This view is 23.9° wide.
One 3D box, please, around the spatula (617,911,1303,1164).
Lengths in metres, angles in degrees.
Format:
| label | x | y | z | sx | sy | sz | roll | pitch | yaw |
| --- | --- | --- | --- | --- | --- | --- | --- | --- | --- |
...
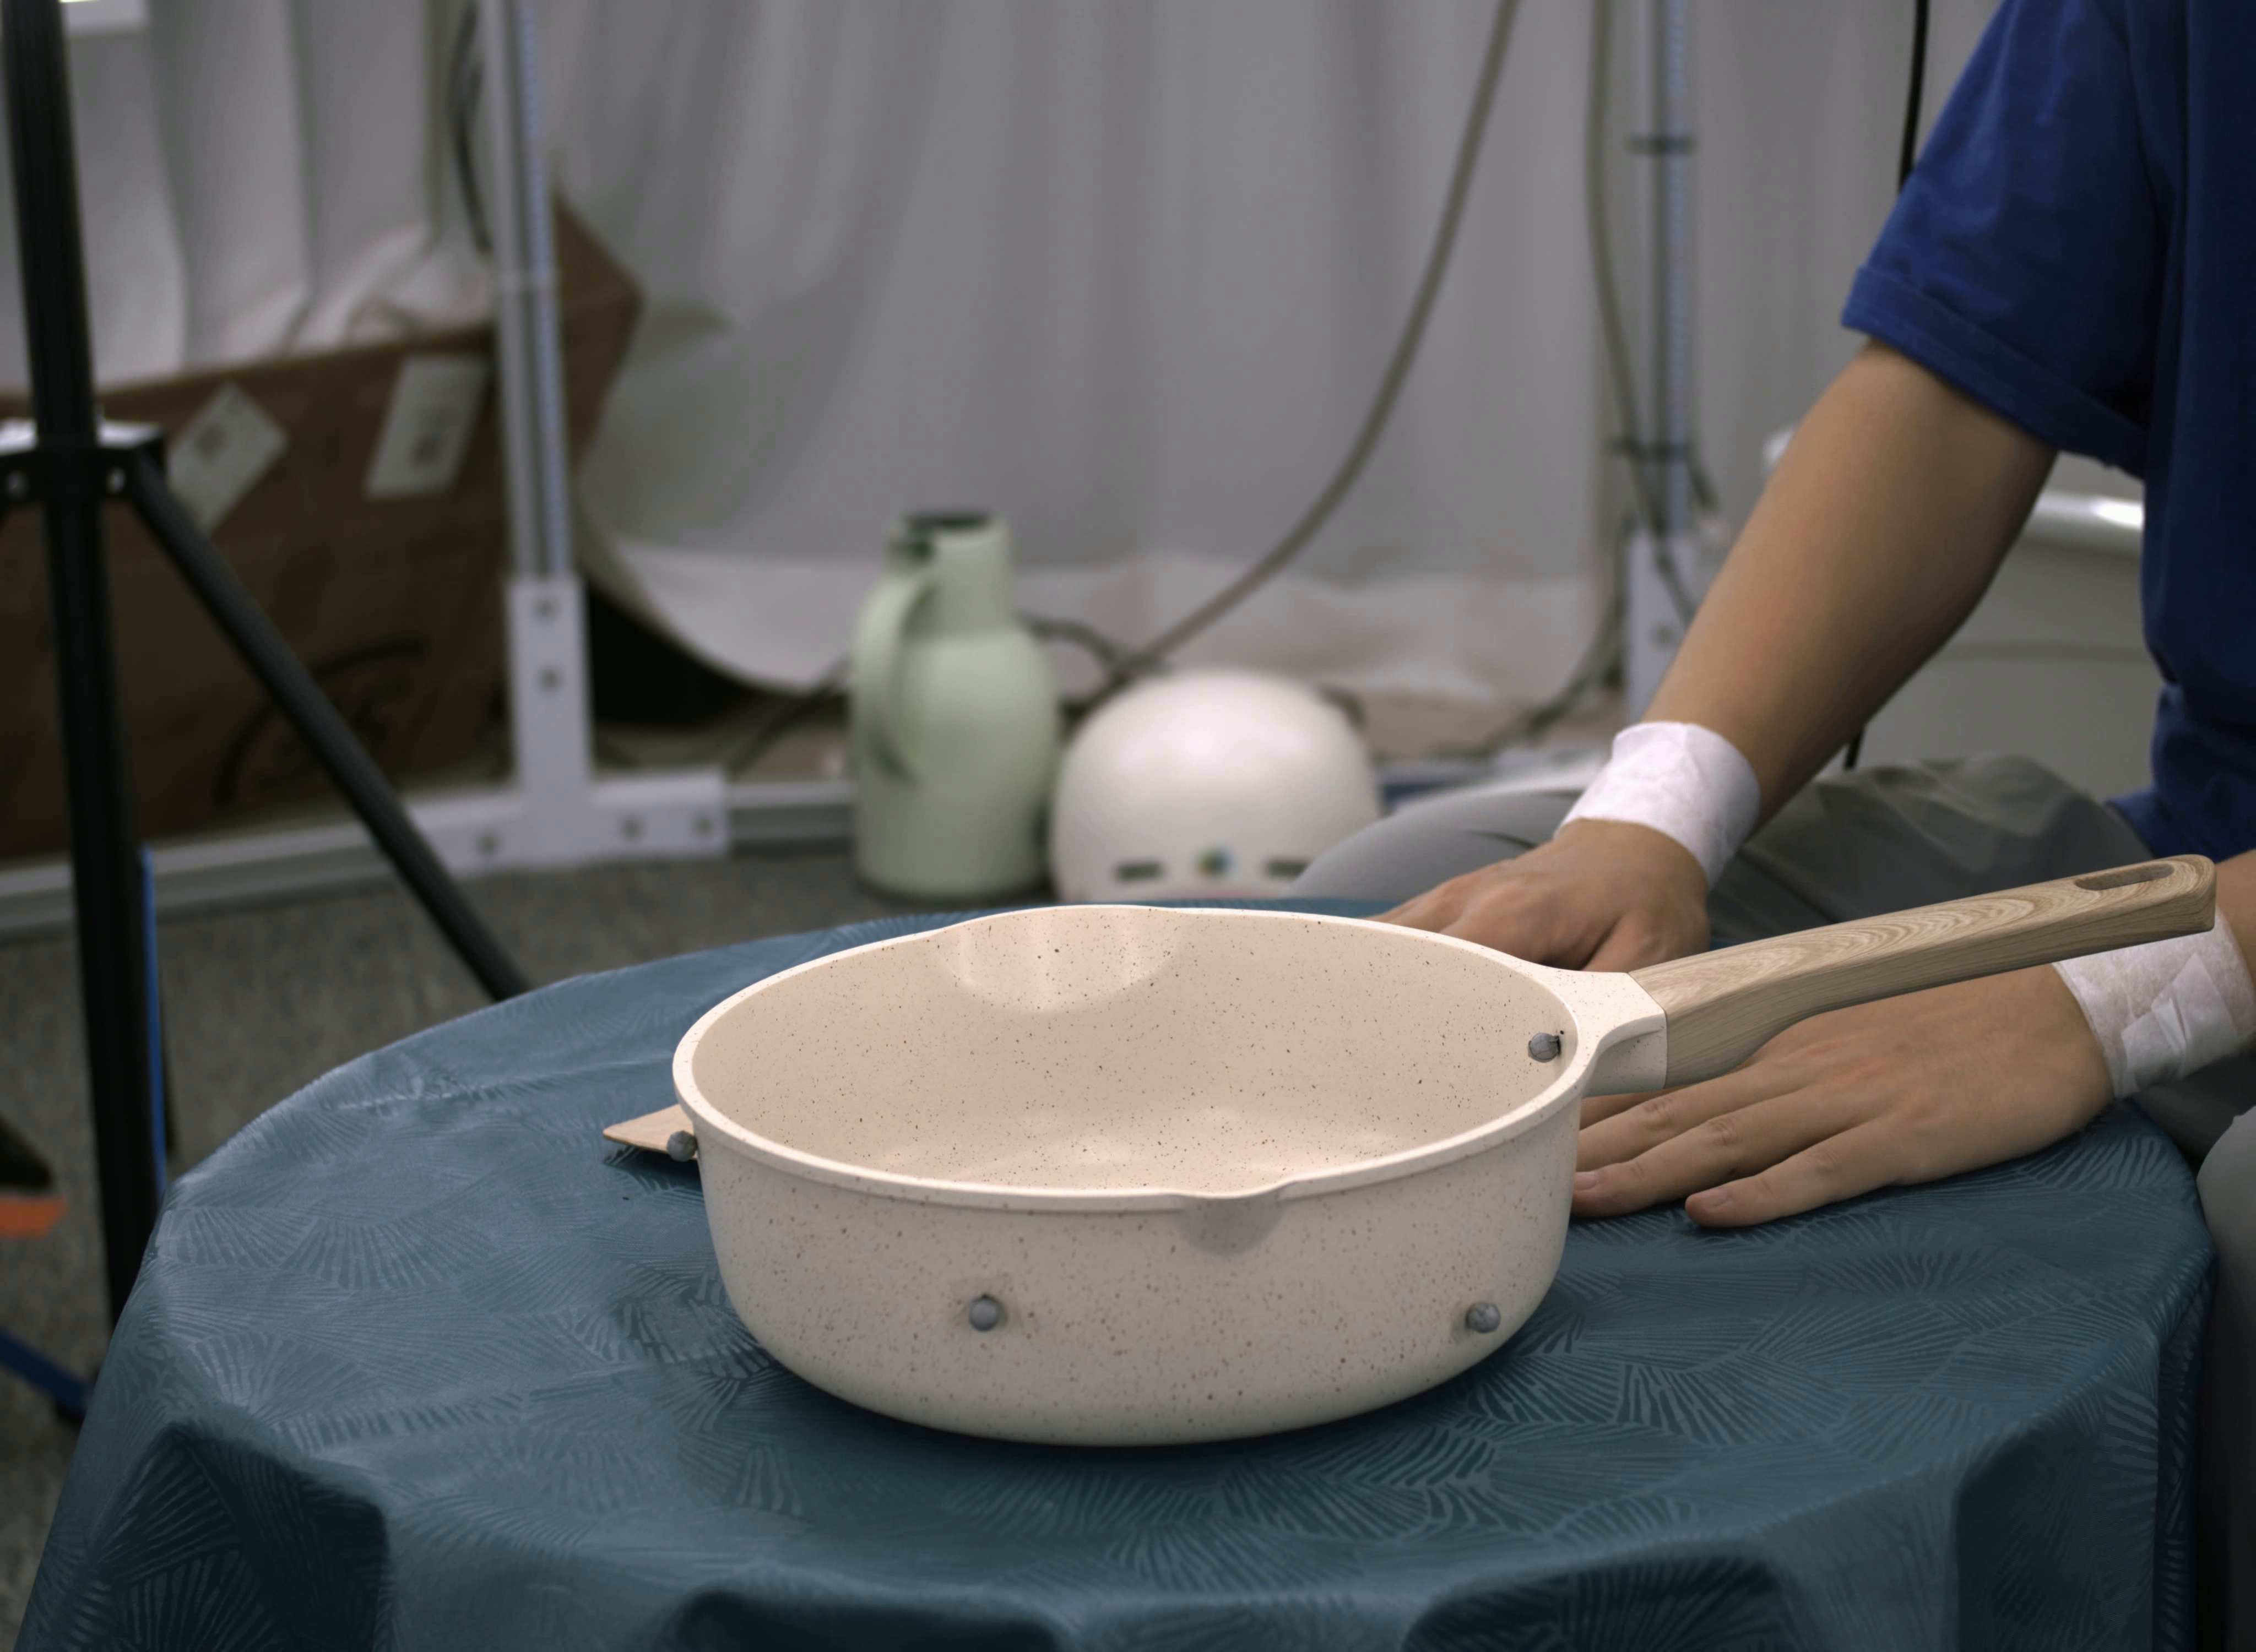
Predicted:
| label | x | y | z | sx | sy | sz | roll | pitch | yaw |
| --- | --- | --- | --- | --- | --- | --- | --- | --- | --- |
| spatula | -0.040 | 0.066 | 1.694 | 0.074 | 0.010 | 0.287 | 9 | 20 | 39 |

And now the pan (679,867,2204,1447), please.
| label | x | y | z | sx | sy | sz | roll | pitch | yaw |
| --- | --- | --- | --- | --- | --- | --- | --- | --- | --- |
| pan | 0.094 | 0.082 | 1.453 | 0.429 | 0.102 | 0.266 | -5 | 14 | -10 |
